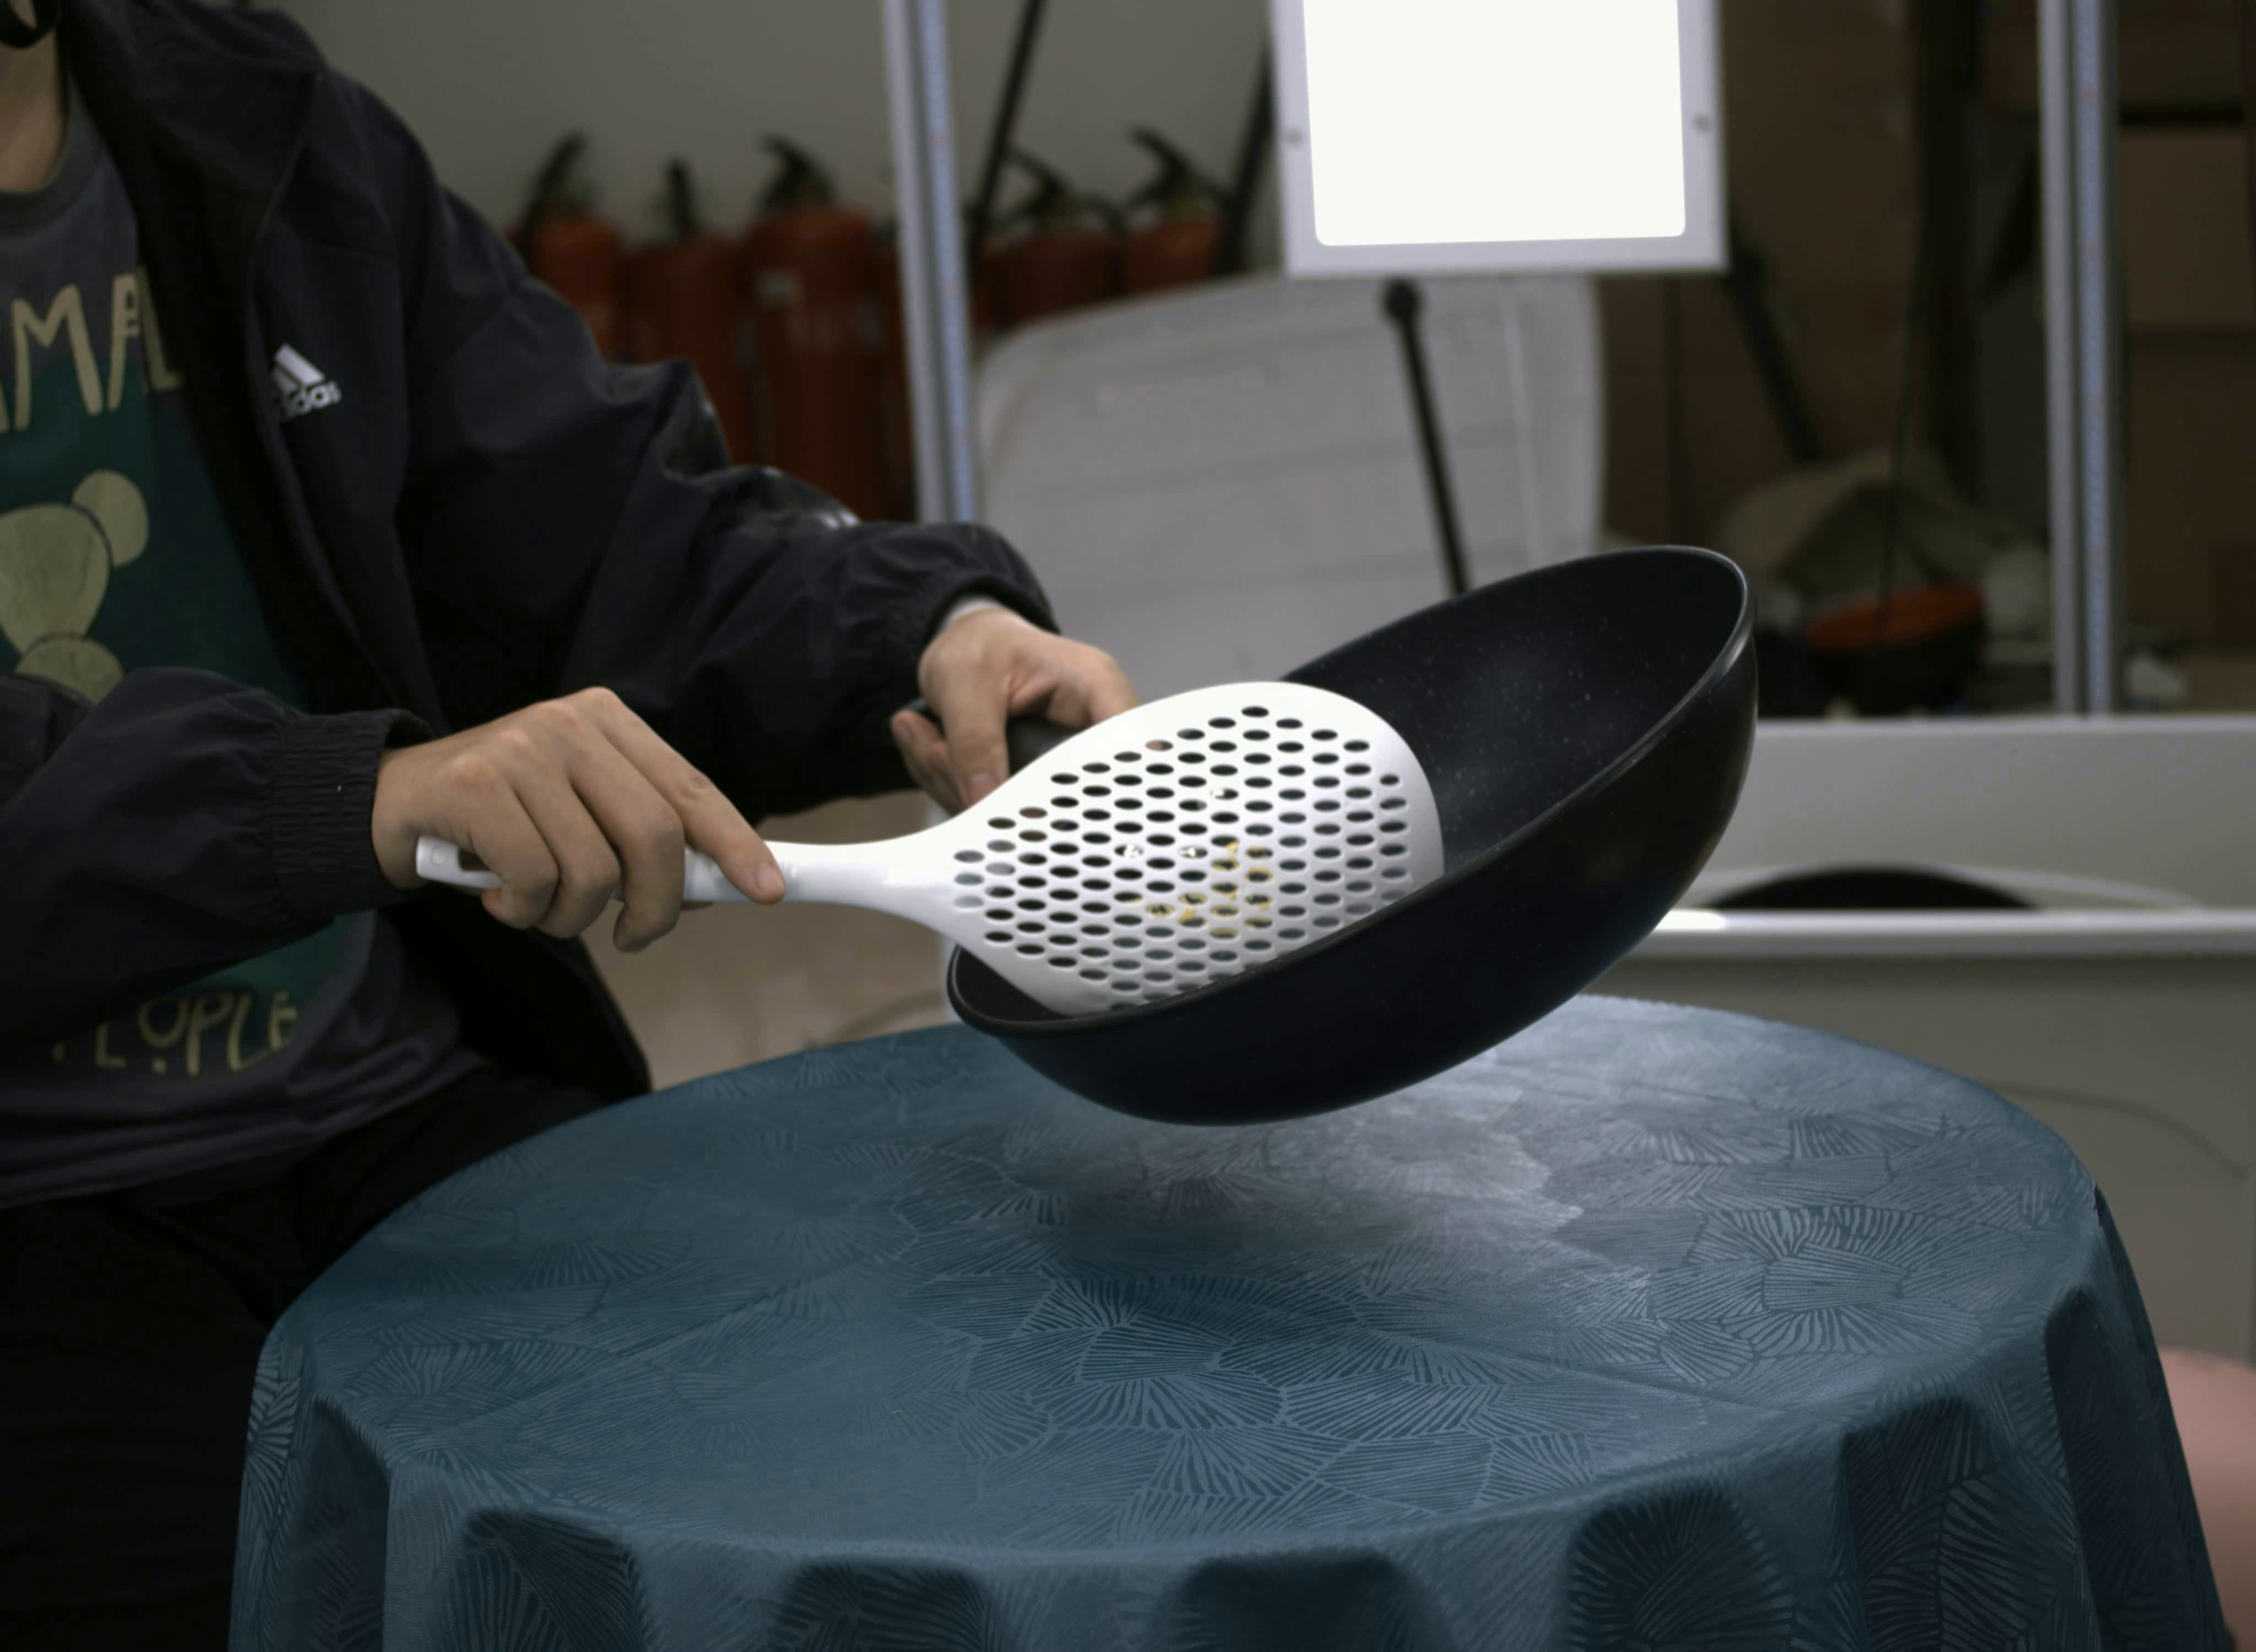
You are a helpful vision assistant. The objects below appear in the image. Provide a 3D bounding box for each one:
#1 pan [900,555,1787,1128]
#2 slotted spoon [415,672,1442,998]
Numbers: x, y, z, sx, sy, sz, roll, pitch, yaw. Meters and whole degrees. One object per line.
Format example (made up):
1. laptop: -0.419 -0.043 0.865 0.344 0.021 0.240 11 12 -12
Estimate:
1. pan: 0.053 0.007 1.947 0.305 0.111 0.486 -34 16 -23
2. slotted spoon: -0.066 0.016 1.869 0.348 0.137 0.050 1 6 4
